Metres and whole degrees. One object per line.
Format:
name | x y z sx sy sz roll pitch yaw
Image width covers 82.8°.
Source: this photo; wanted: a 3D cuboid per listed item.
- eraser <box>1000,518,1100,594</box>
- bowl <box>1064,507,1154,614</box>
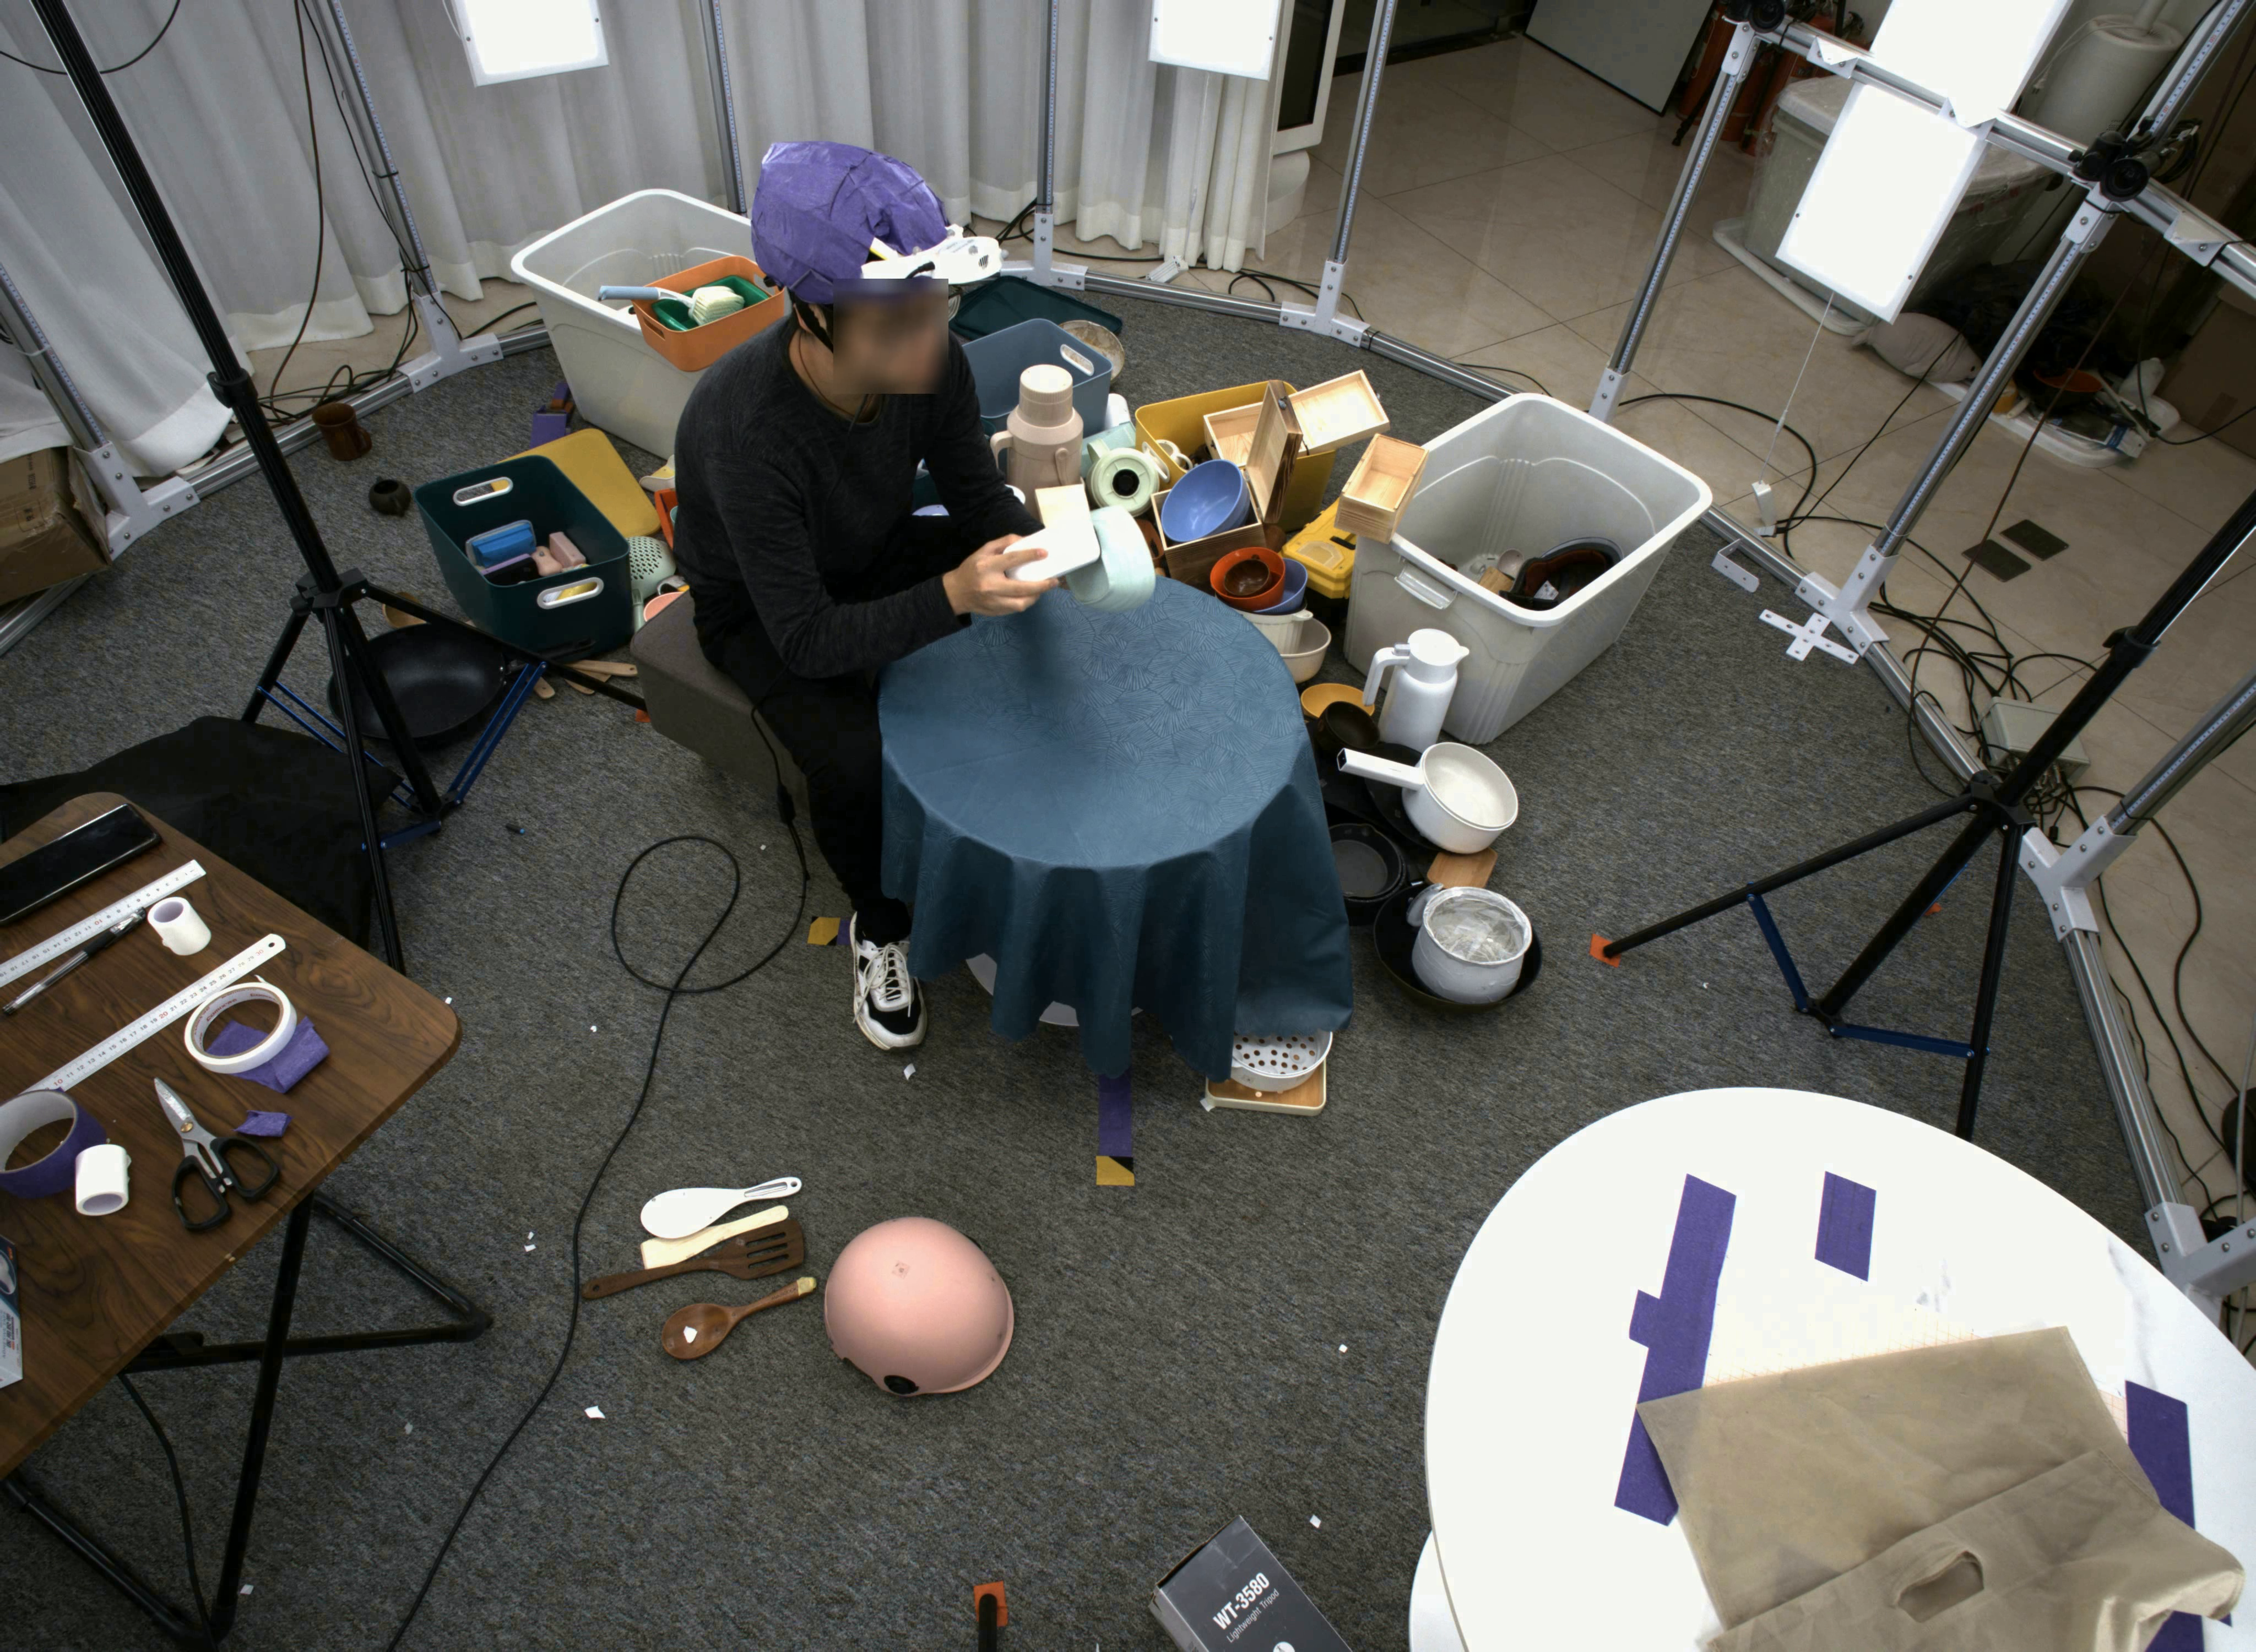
eraser | -0.100 -0.344 1.641 0.131 0.034 0.064 -18 81 20
bowl | -0.038 -0.340 1.683 0.059 0.148 0.154 -25 55 -35
